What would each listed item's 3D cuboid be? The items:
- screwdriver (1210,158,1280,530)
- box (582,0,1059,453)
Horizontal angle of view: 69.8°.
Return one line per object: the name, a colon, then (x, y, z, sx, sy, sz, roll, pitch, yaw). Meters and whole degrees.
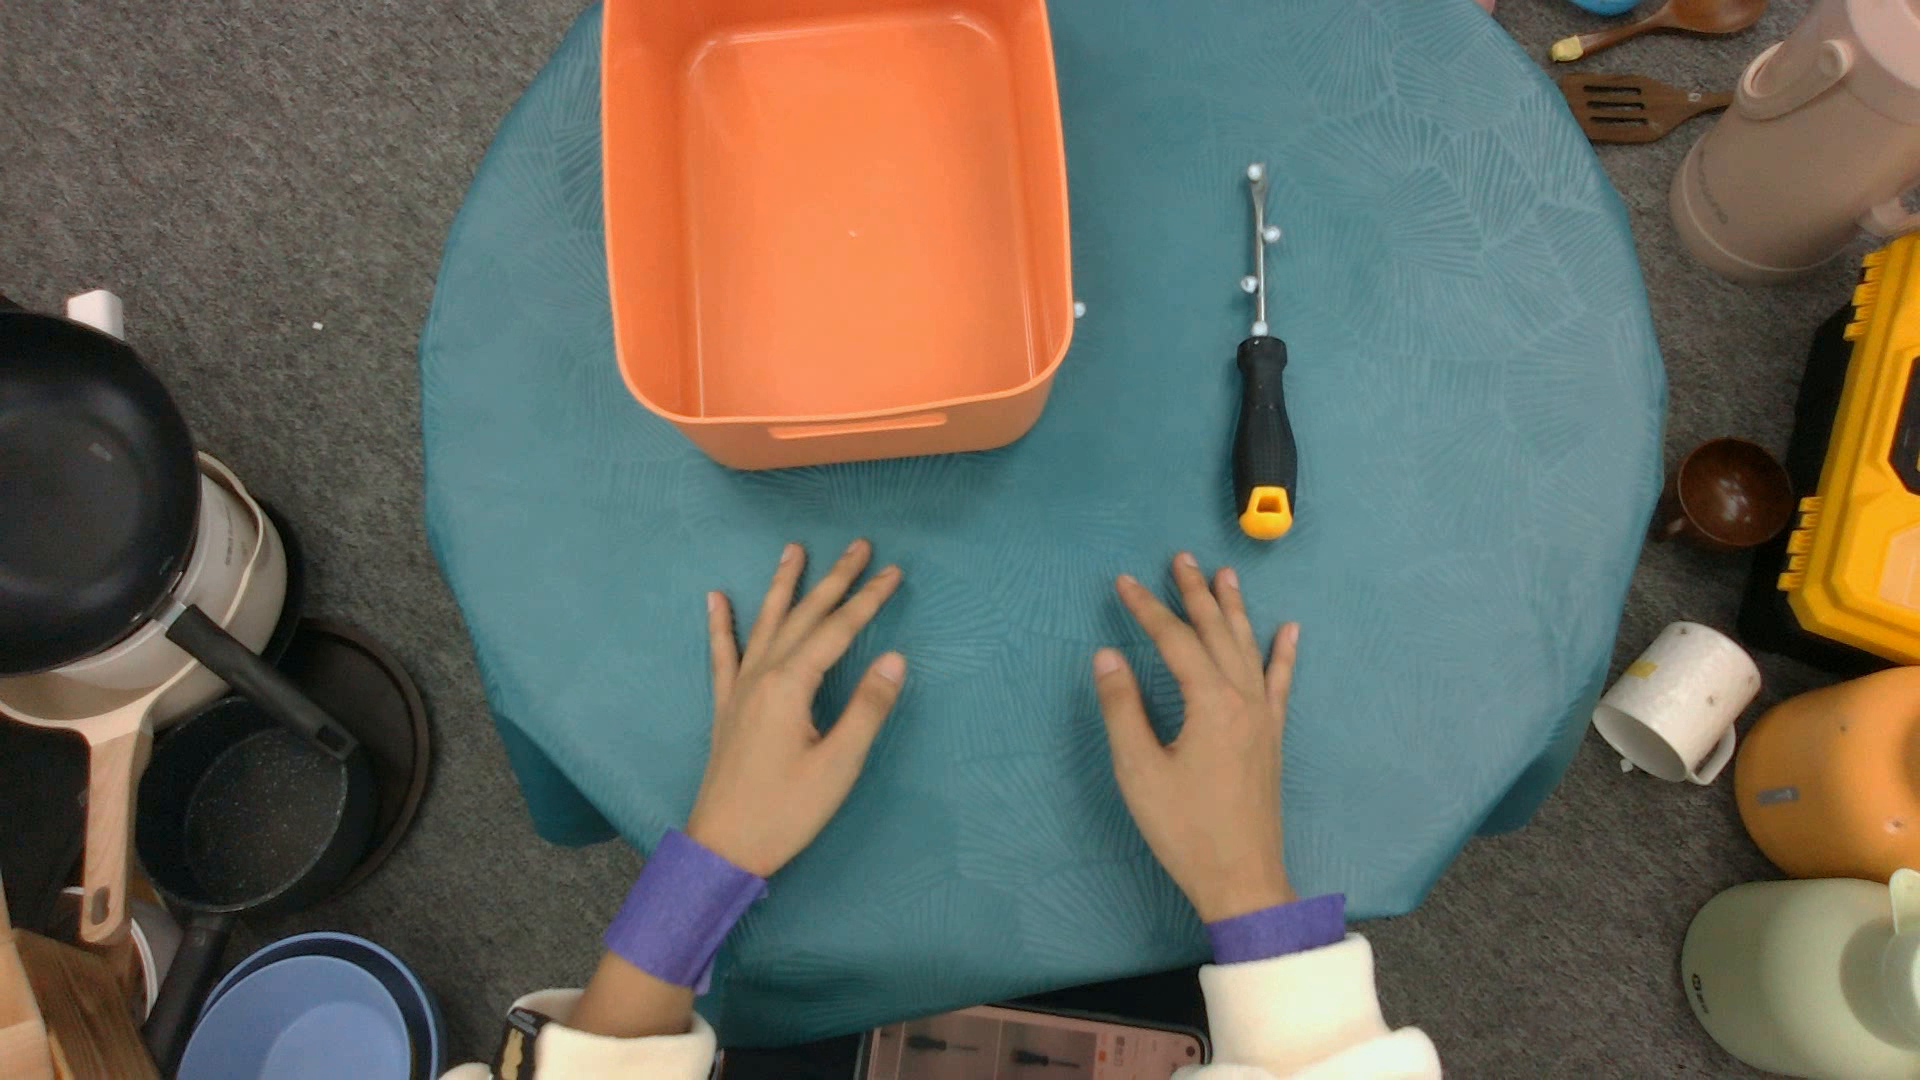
screwdriver: (0.127, -0.097, 0.646, 0.031, 0.031, 0.198, -2, 65, 1)
box: (-0.064, -0.174, 0.641, 0.199, 0.102, 0.274, -6, 74, -1)
